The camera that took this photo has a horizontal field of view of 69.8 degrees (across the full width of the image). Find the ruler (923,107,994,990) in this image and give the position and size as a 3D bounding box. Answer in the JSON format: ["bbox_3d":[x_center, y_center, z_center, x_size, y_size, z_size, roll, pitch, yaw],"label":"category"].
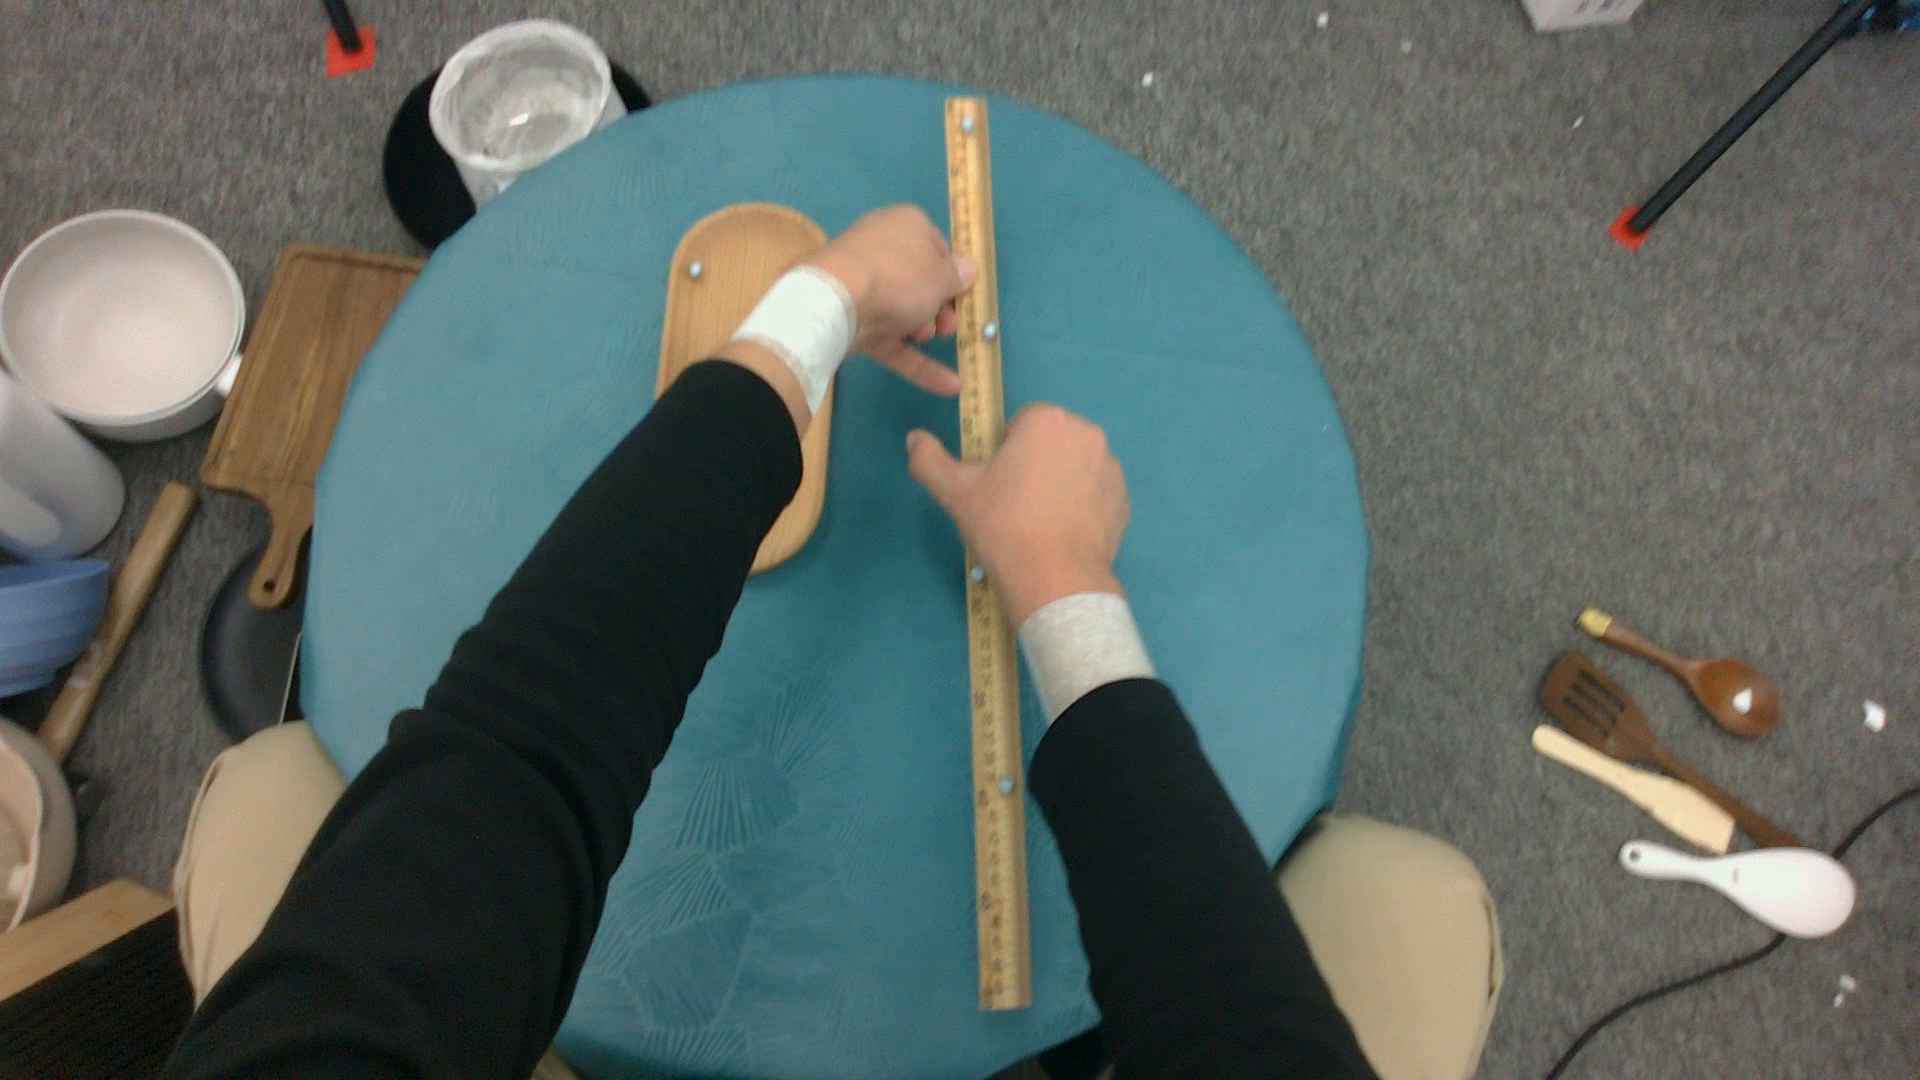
[{"bbox_3d":[-0.003,-0.018,0.750,0.027,0.006,0.501,-1,73,-2],"label":"ruler"}]

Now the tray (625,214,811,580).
[{"bbox_3d":[-0.138,-0.087,0.799,0.102,0.020,0.232,0,71,-5],"label":"tray"}]
